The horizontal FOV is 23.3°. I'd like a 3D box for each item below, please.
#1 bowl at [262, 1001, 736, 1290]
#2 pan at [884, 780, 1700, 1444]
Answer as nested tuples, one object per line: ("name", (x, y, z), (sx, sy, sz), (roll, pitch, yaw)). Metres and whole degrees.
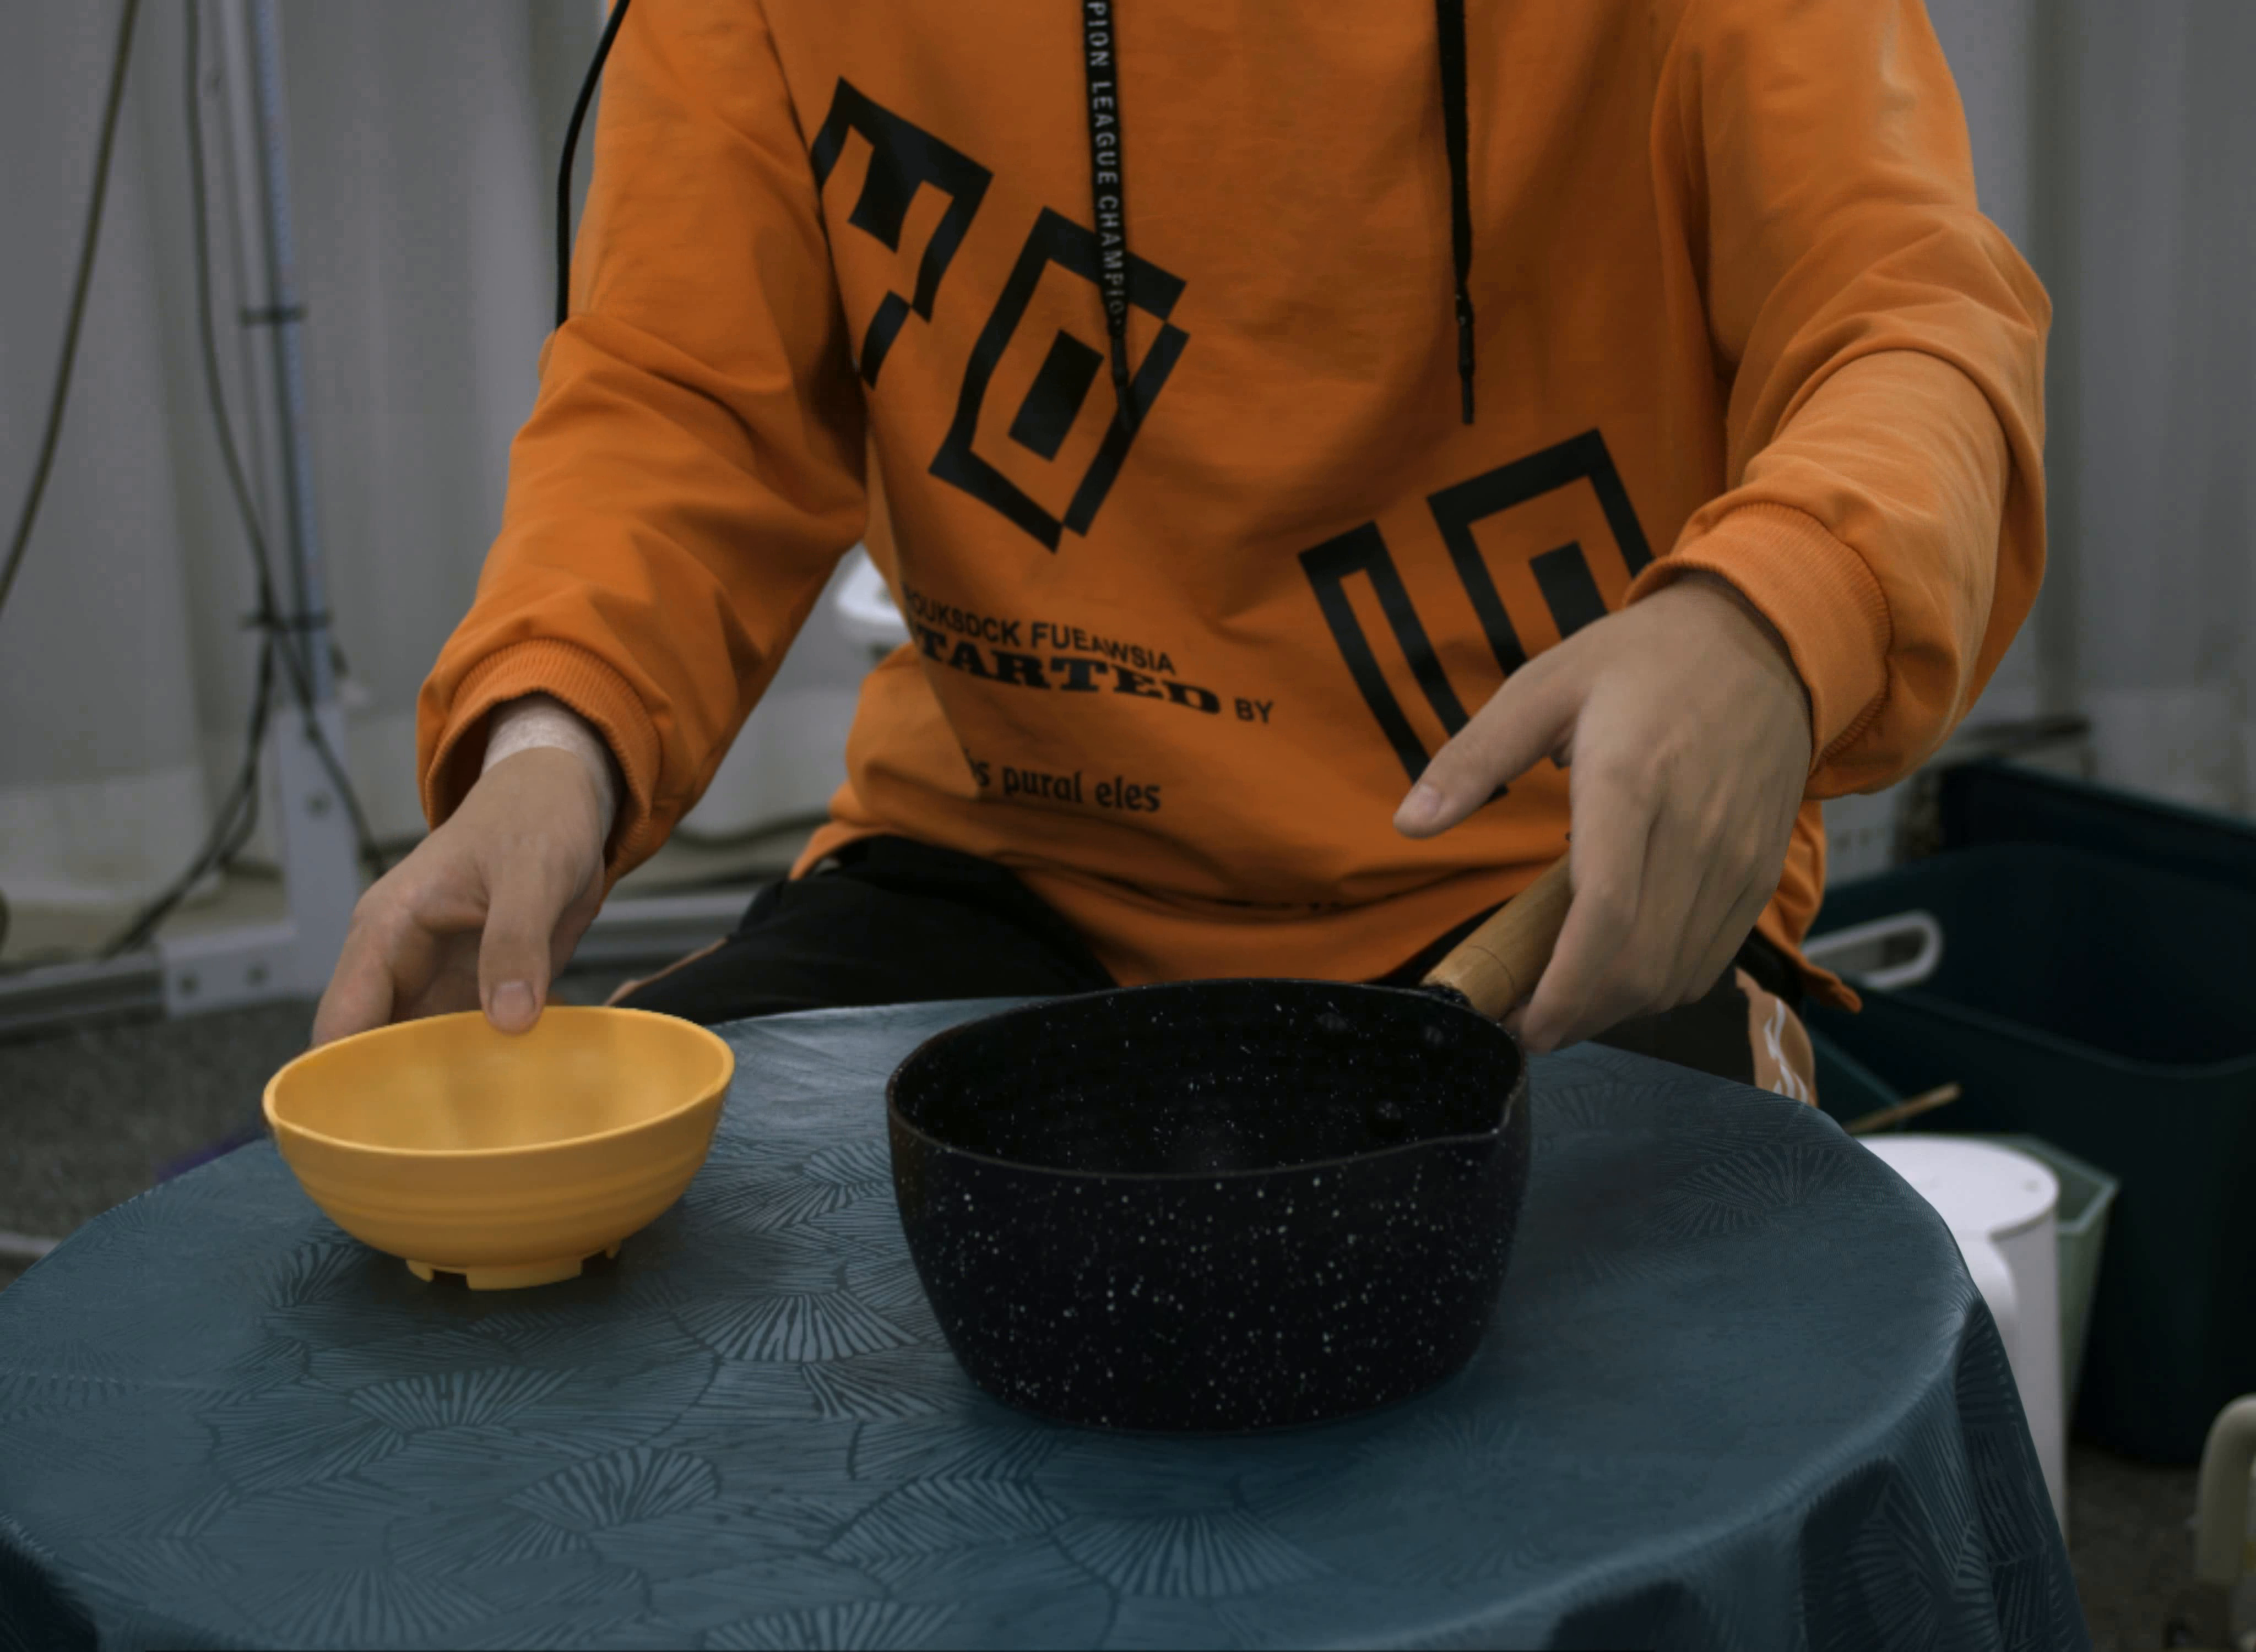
("bowl", (-0.191, 0.104, 1.681), (0.145, 0.060, 0.146), (-2, 16, 0))
("pan", (0.071, 0.080, 1.624), (0.208, 0.108, 0.343), (6, 19, 36))
